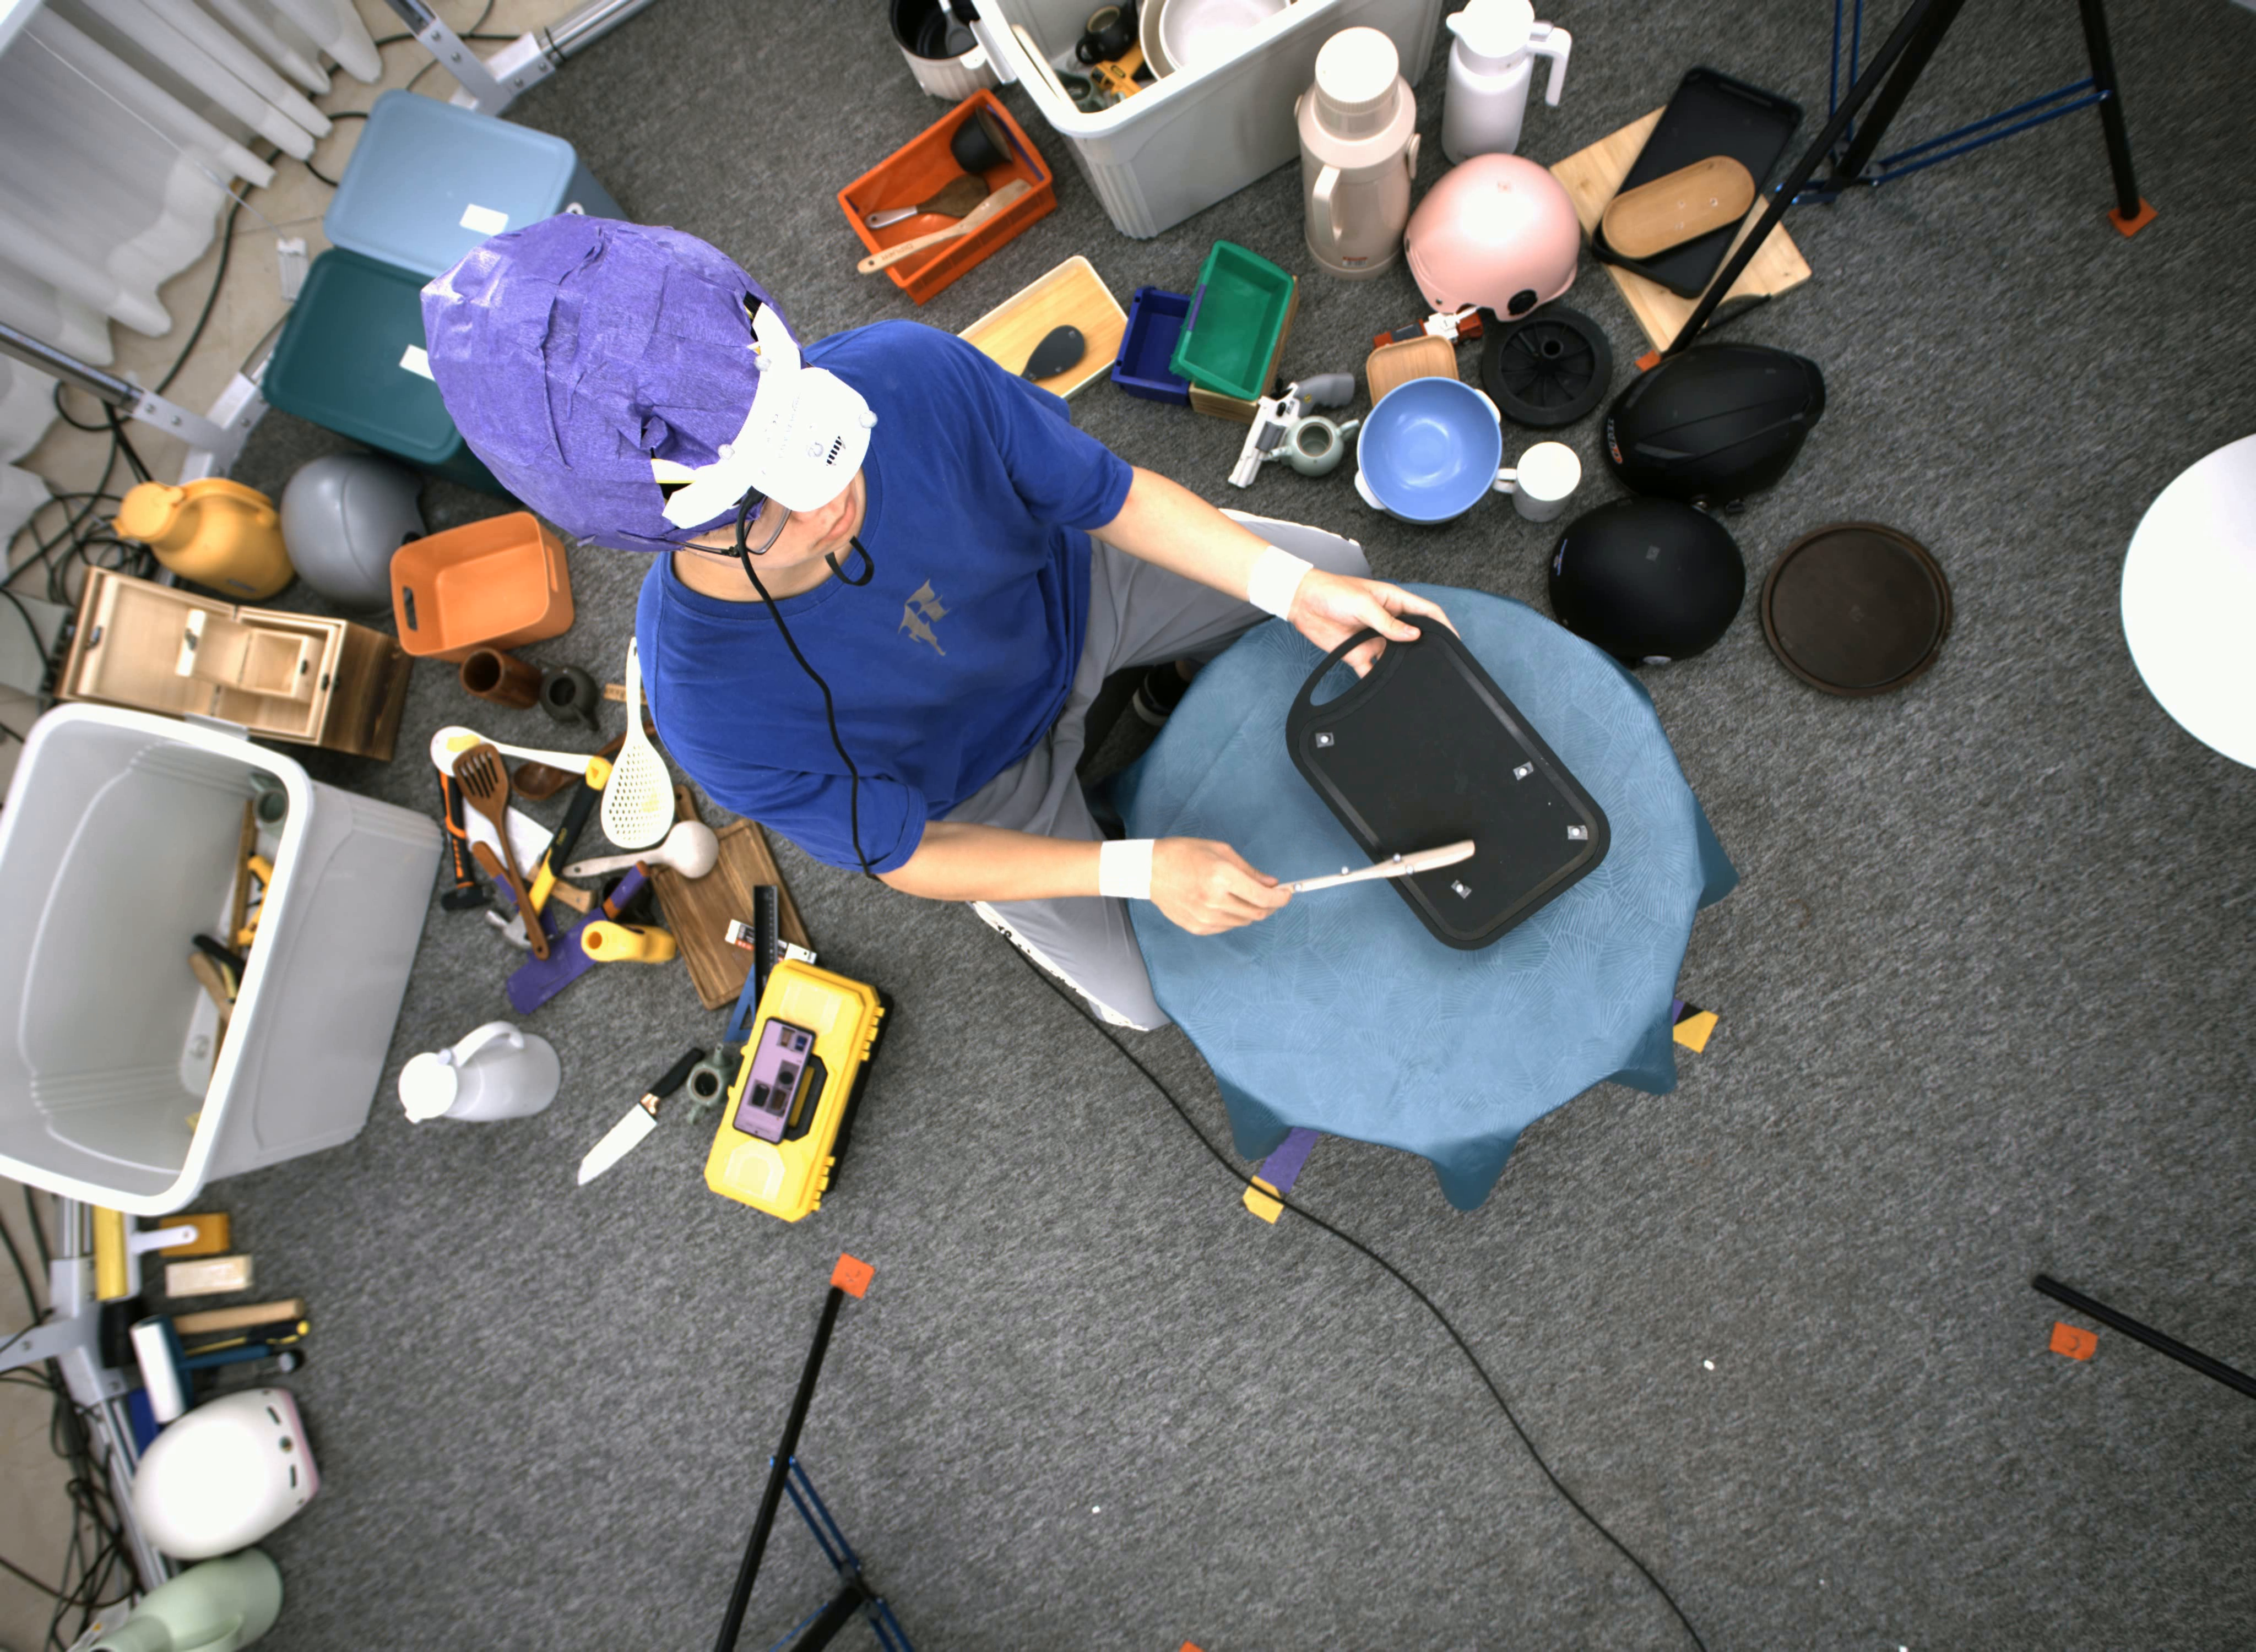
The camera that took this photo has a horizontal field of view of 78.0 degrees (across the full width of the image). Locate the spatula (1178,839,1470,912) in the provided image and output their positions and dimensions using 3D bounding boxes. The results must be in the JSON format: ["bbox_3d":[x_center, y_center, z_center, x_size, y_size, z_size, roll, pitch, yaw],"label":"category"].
[{"bbox_3d":[0.189,0.051,1.354,0.295,0.071,0.011,-13,97,15],"label":"spatula"}]

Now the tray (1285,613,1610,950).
[{"bbox_3d":[0.301,-0.048,1.346,0.215,0.009,0.324,-41,85,28],"label":"tray"}]
